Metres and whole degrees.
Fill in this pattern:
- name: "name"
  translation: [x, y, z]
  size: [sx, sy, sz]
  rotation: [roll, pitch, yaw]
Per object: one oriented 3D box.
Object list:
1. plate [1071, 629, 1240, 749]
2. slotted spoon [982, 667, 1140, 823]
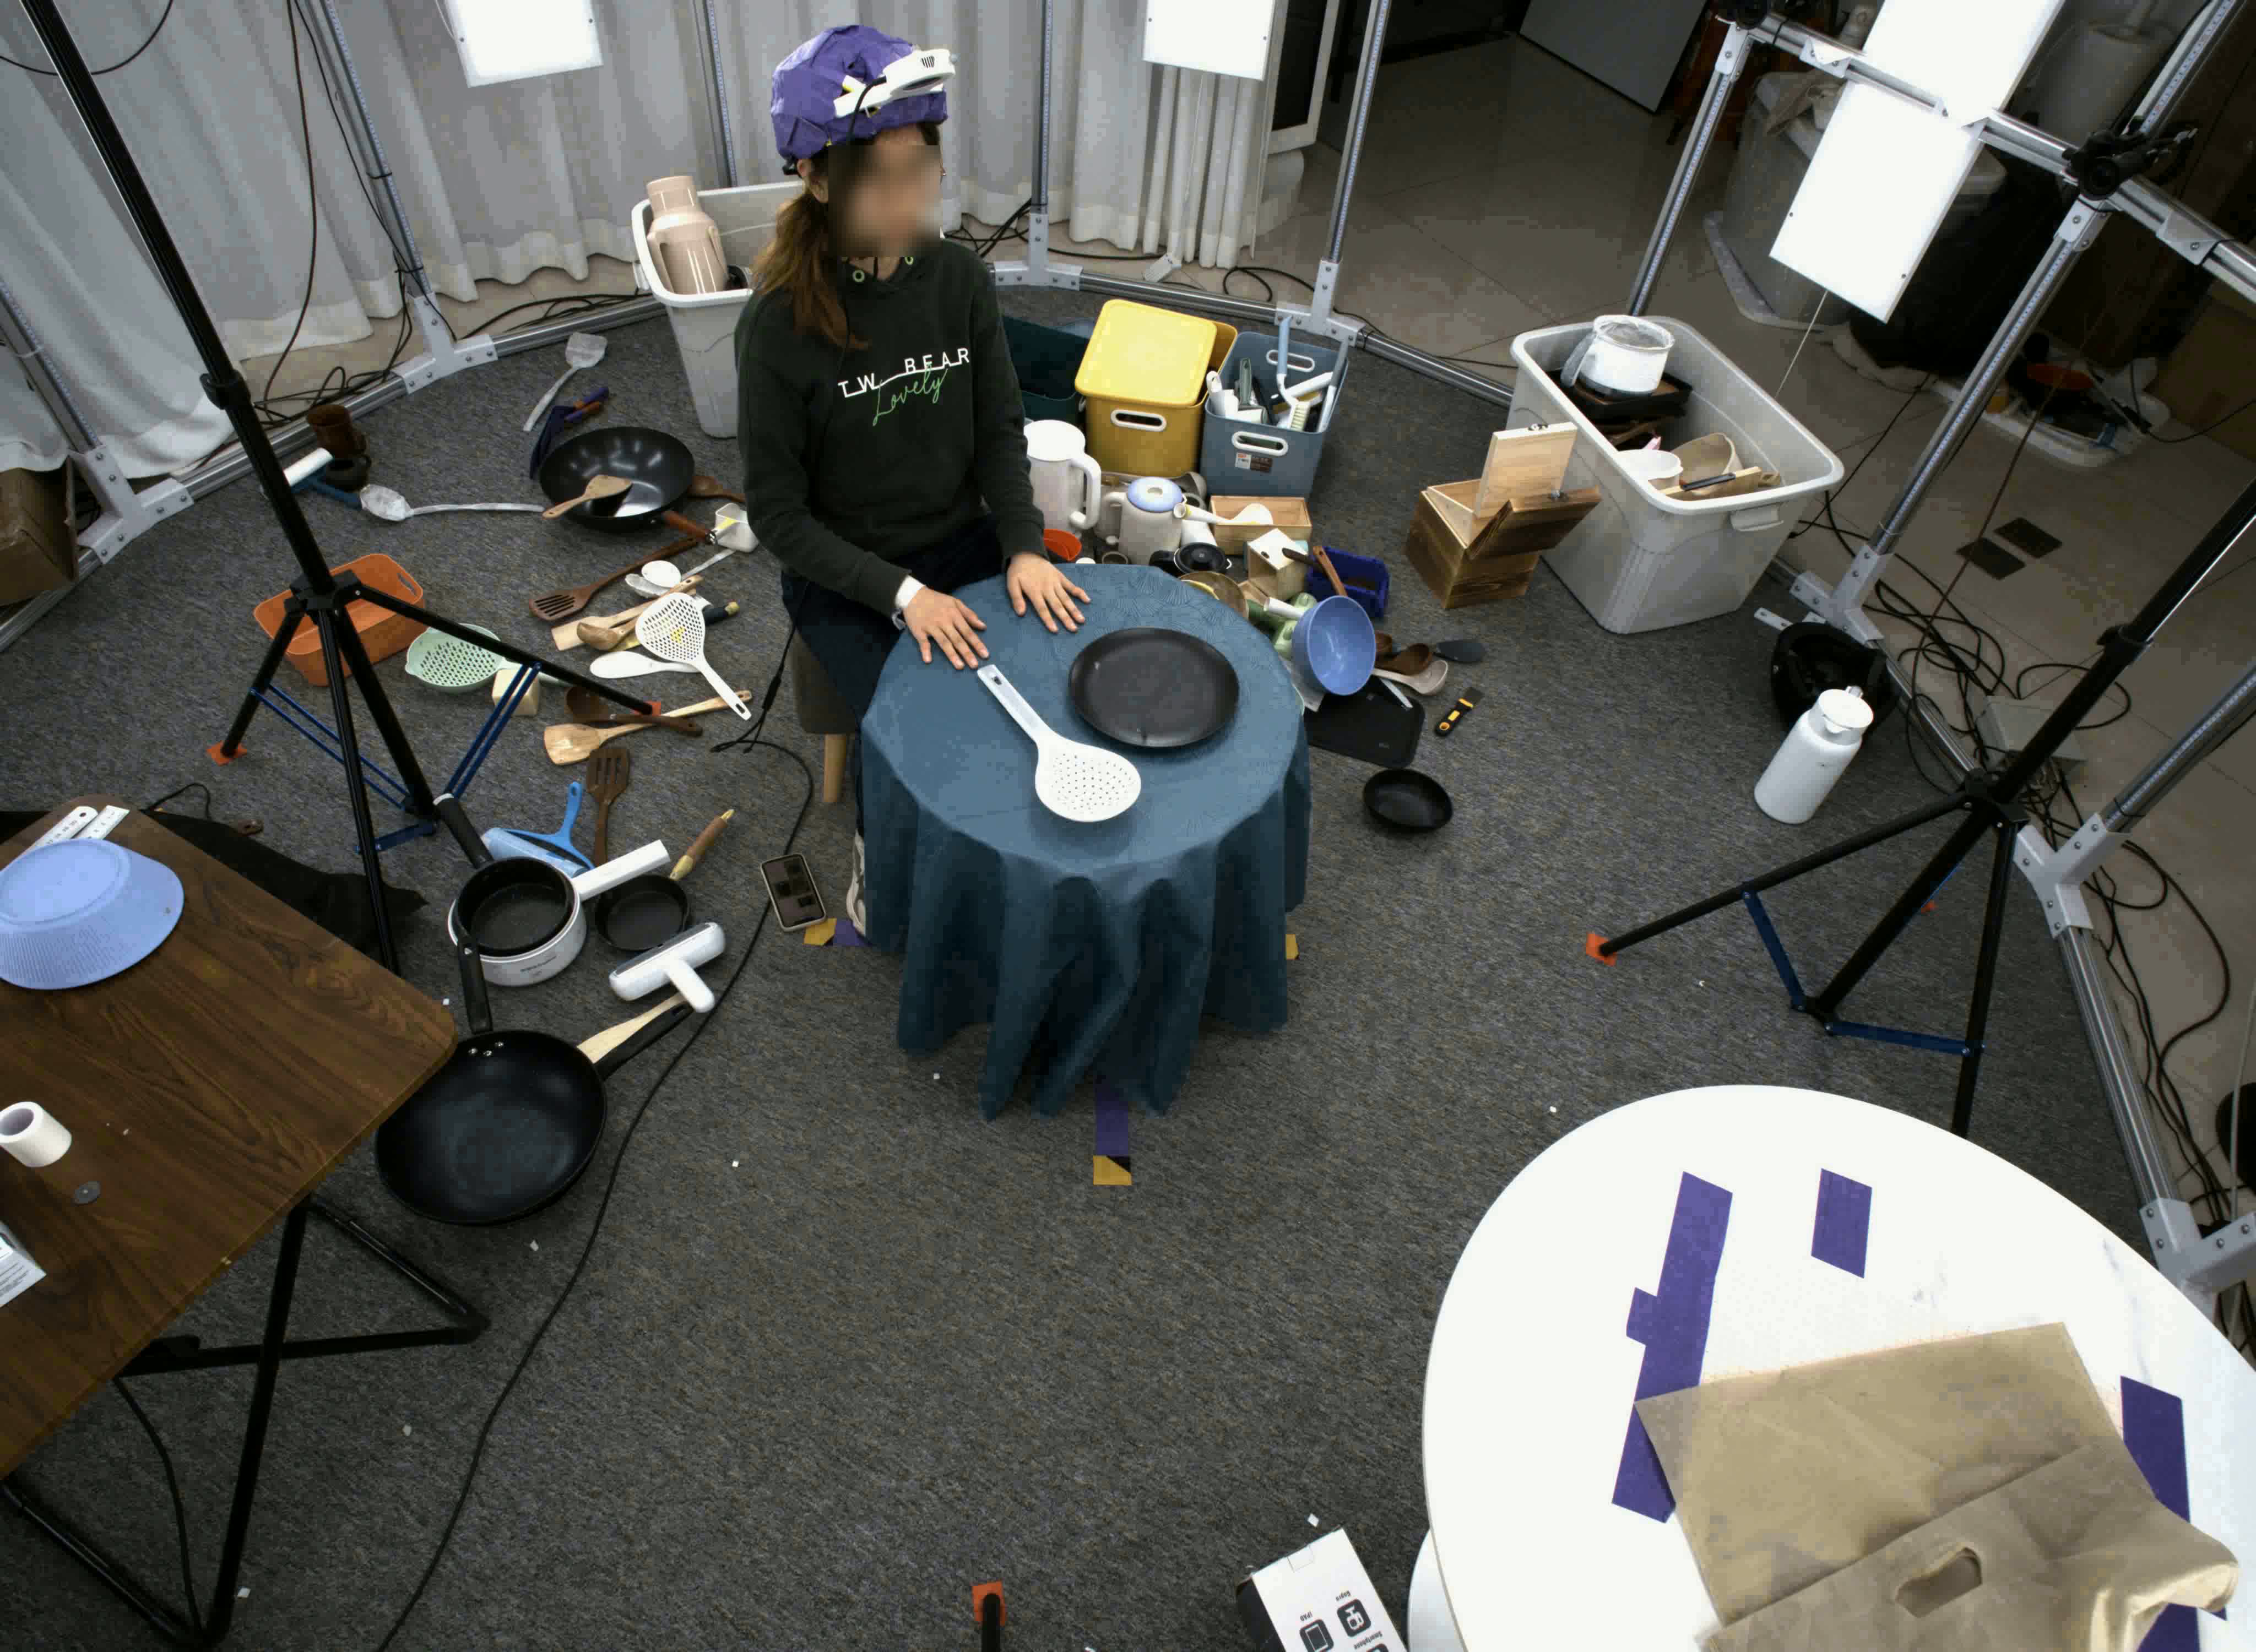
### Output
- name: "plate"
  translation: [0.038, -0.194, 1.840]
  size: [0.244, 0.023, 0.250]
  rotation: [2, 49, -2]
- name: "slotted spoon"
  translation: [-0.109, -0.116, 1.748]
  size: [0.136, 0.044, 0.357]
  rotation: [-22, 53, -24]
